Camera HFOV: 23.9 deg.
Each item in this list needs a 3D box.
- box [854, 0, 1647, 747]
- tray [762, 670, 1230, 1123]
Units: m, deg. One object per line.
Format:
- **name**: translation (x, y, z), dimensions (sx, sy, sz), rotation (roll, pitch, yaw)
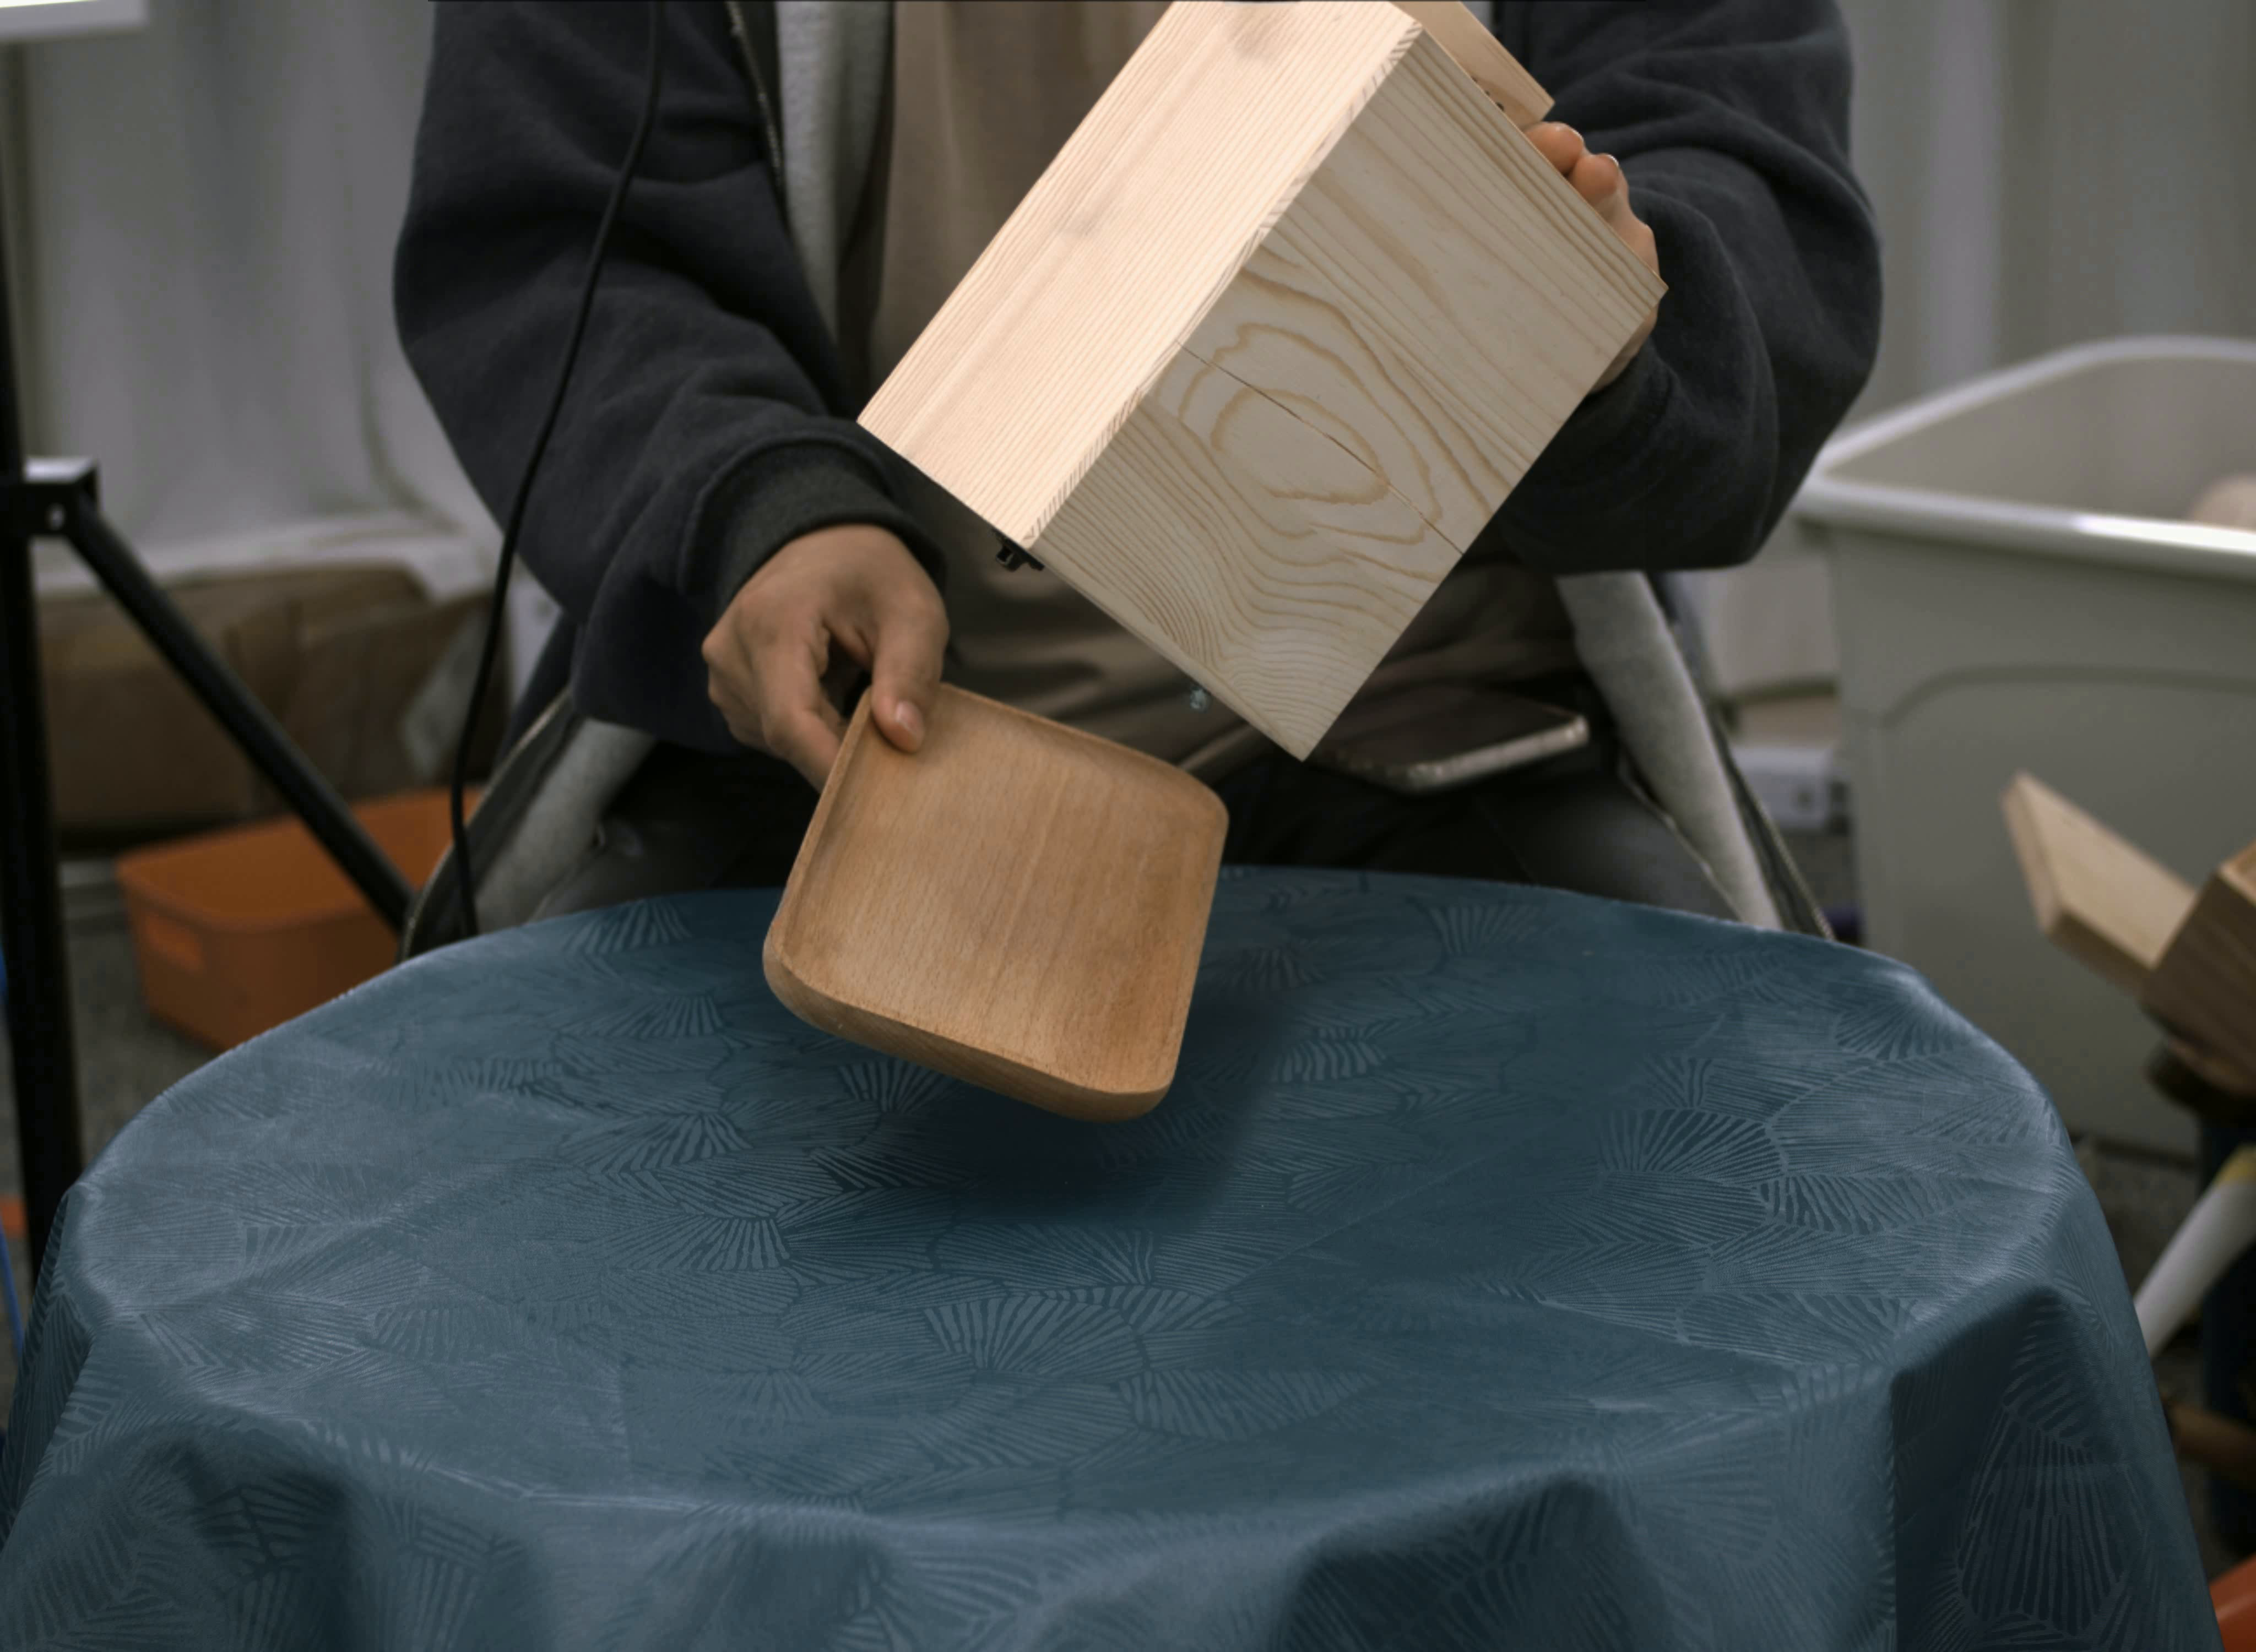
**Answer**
- **box**: translation (0.002, -0.214, 1.588), dimensions (0.258, 0.265, 0.178), rotation (39, 1, 32)
- **tray**: translation (-0.038, 0.019, 1.648), dimensions (0.130, 0.023, 0.251), rotation (22, 23, -2)
